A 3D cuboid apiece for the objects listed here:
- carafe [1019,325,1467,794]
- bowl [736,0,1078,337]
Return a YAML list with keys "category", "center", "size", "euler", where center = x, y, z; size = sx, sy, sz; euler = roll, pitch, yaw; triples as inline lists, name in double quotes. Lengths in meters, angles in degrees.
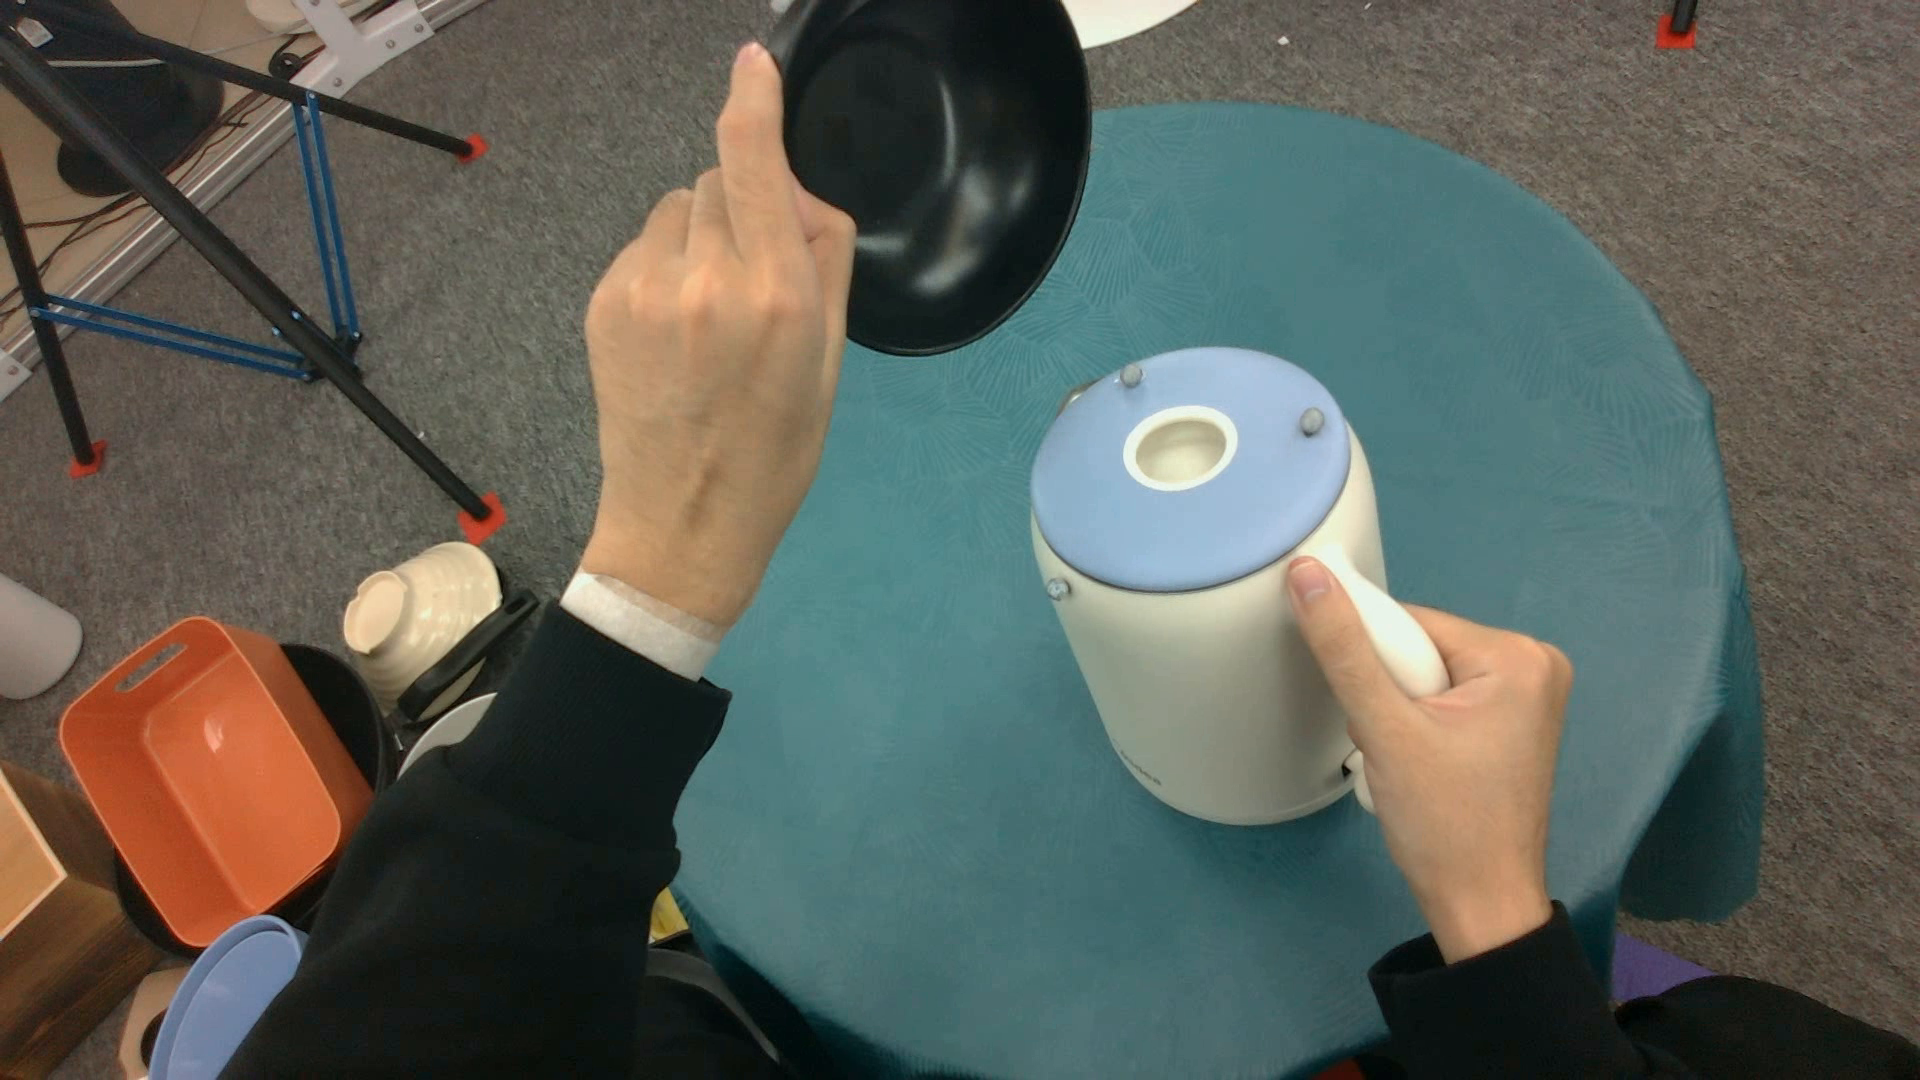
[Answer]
- category: "carafe"
  center: [0.119, 0.024, 0.559]
  size: [0.132, 0.182, 0.191]
  euler: [-44, 53, -14]
- category: "bowl"
  center: [-0.025, -0.144, 0.475]
  size: [0.140, 0.139, 0.050]
  euler: [-47, 50, -14]
